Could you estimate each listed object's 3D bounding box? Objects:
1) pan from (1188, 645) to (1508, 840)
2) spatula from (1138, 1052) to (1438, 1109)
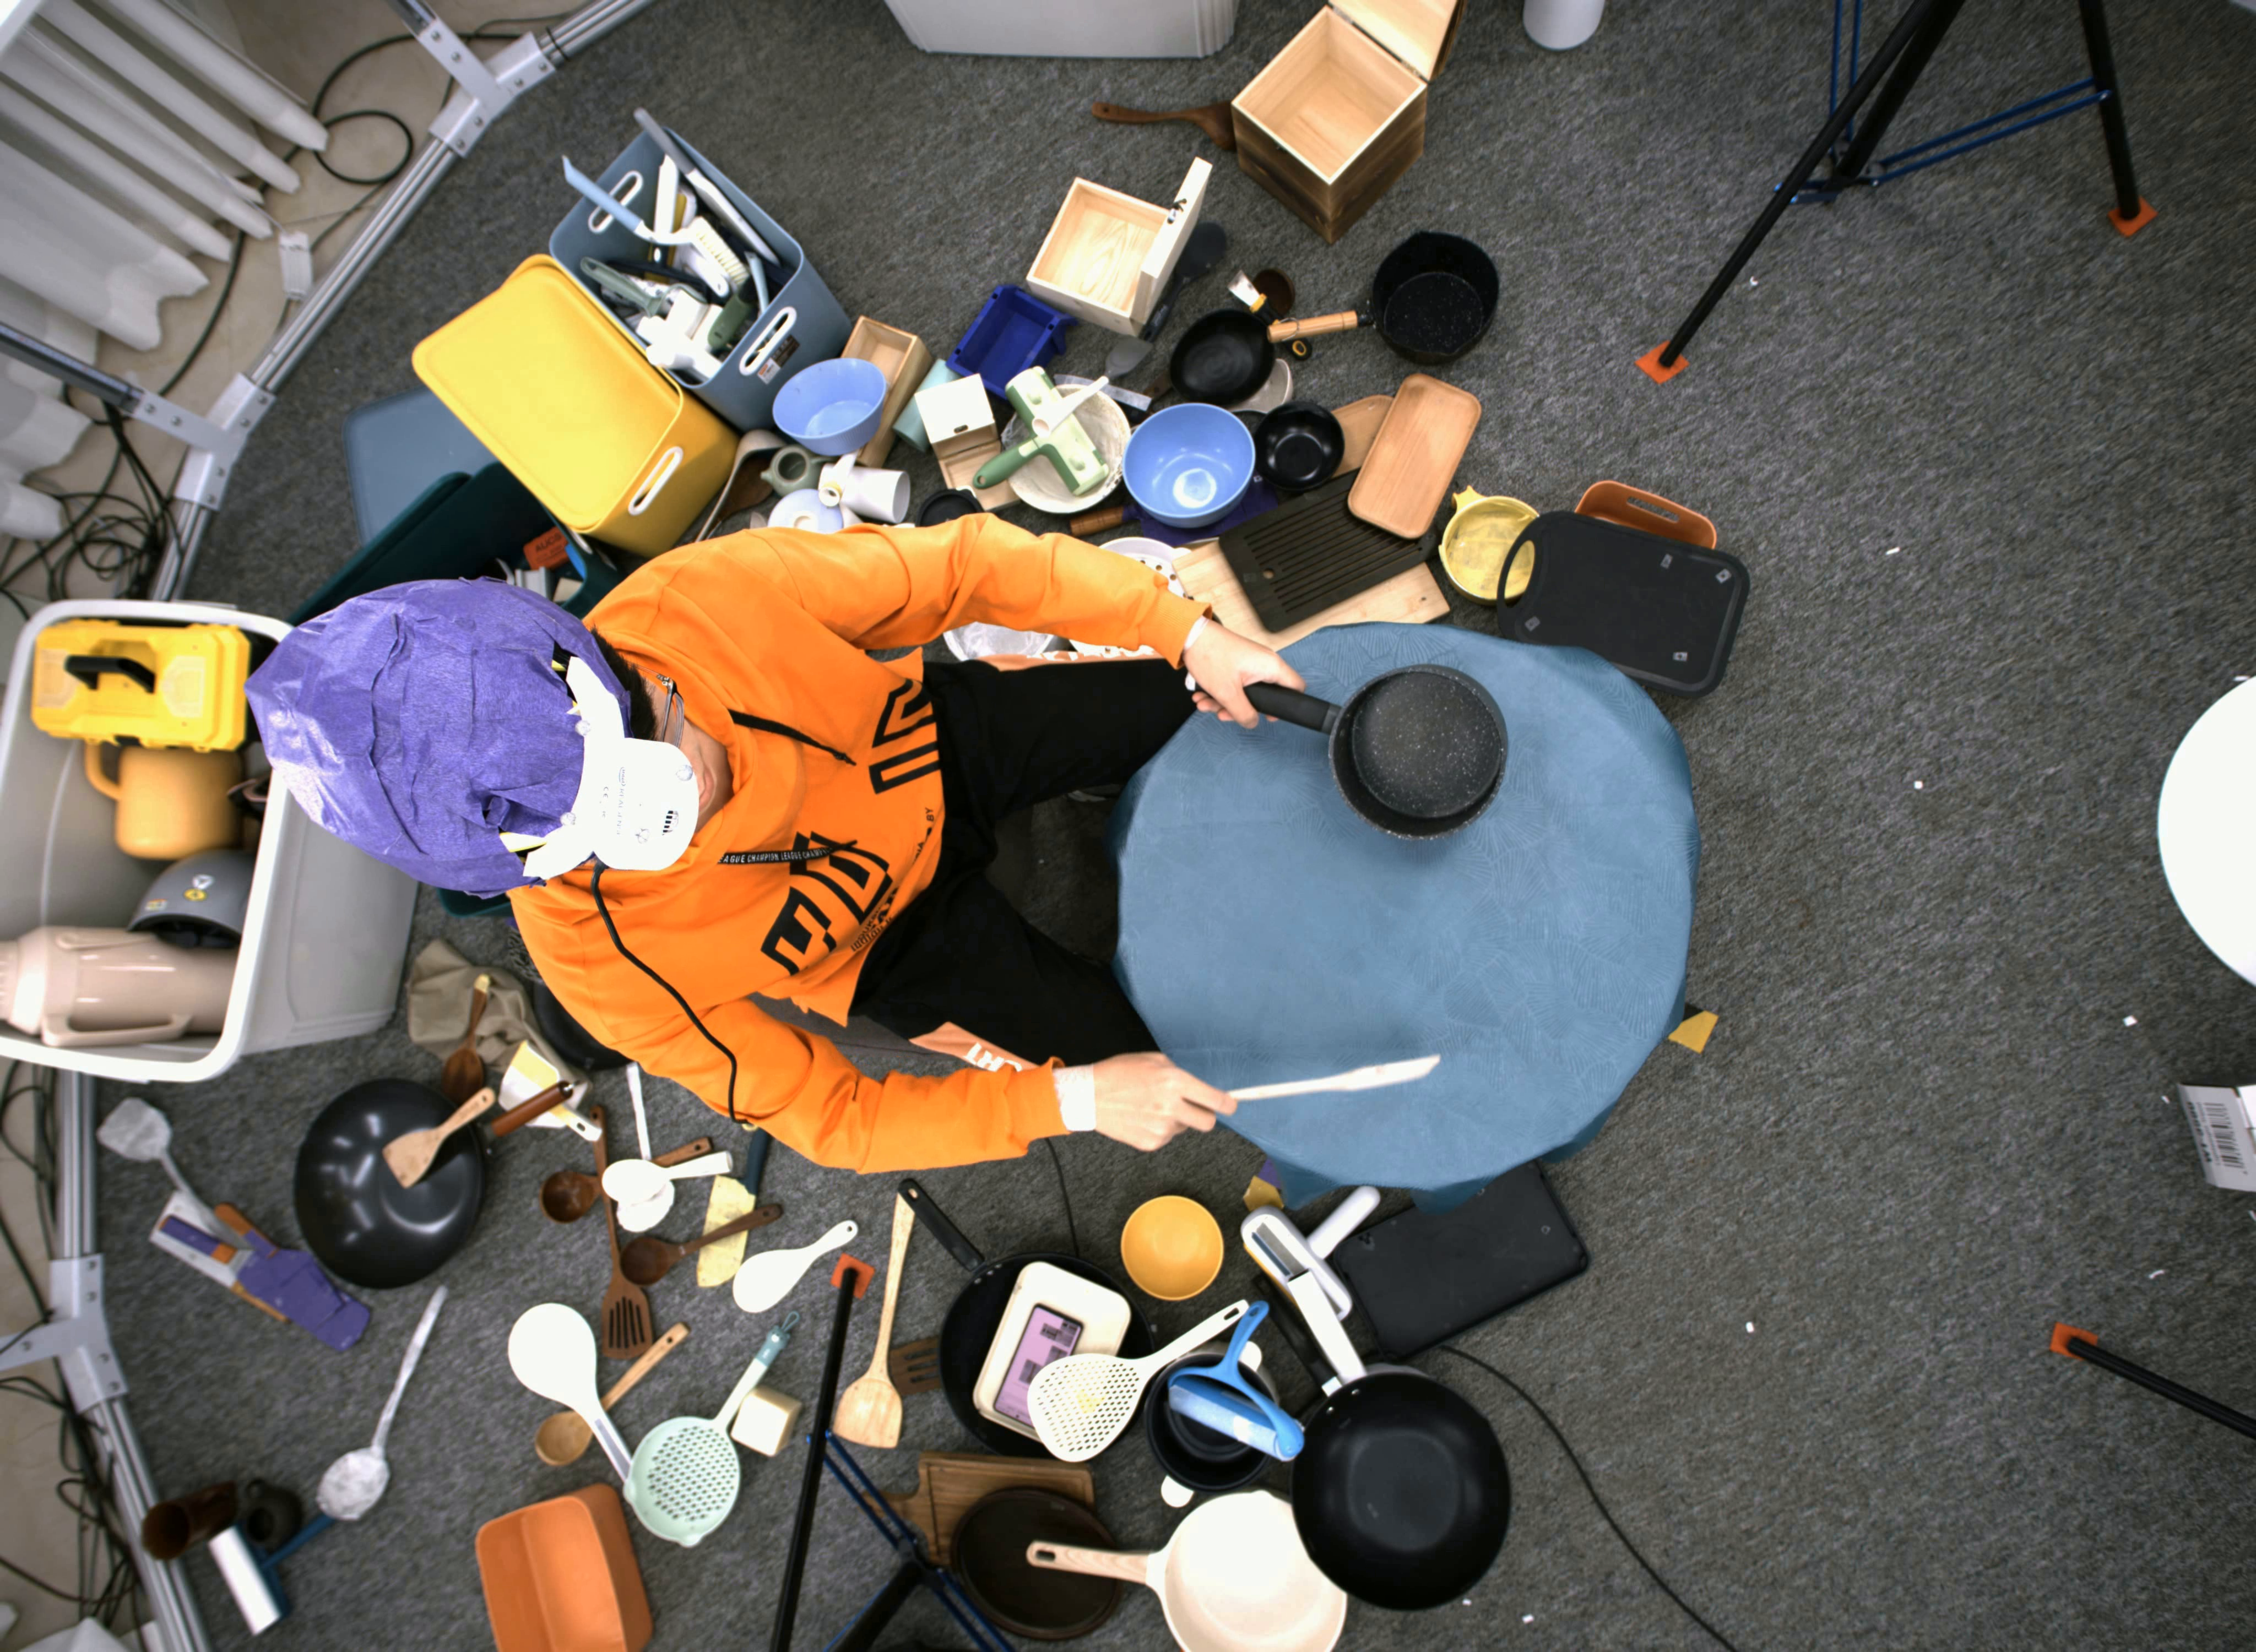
[{"bbox_3d":[0.220,-0.109,1.382,0.328,0.085,0.175,24,111,12],"label":"pan"},{"bbox_3d":[0.154,0.248,1.346,0.293,0.073,0.010,-9,72,0],"label":"spatula"}]
